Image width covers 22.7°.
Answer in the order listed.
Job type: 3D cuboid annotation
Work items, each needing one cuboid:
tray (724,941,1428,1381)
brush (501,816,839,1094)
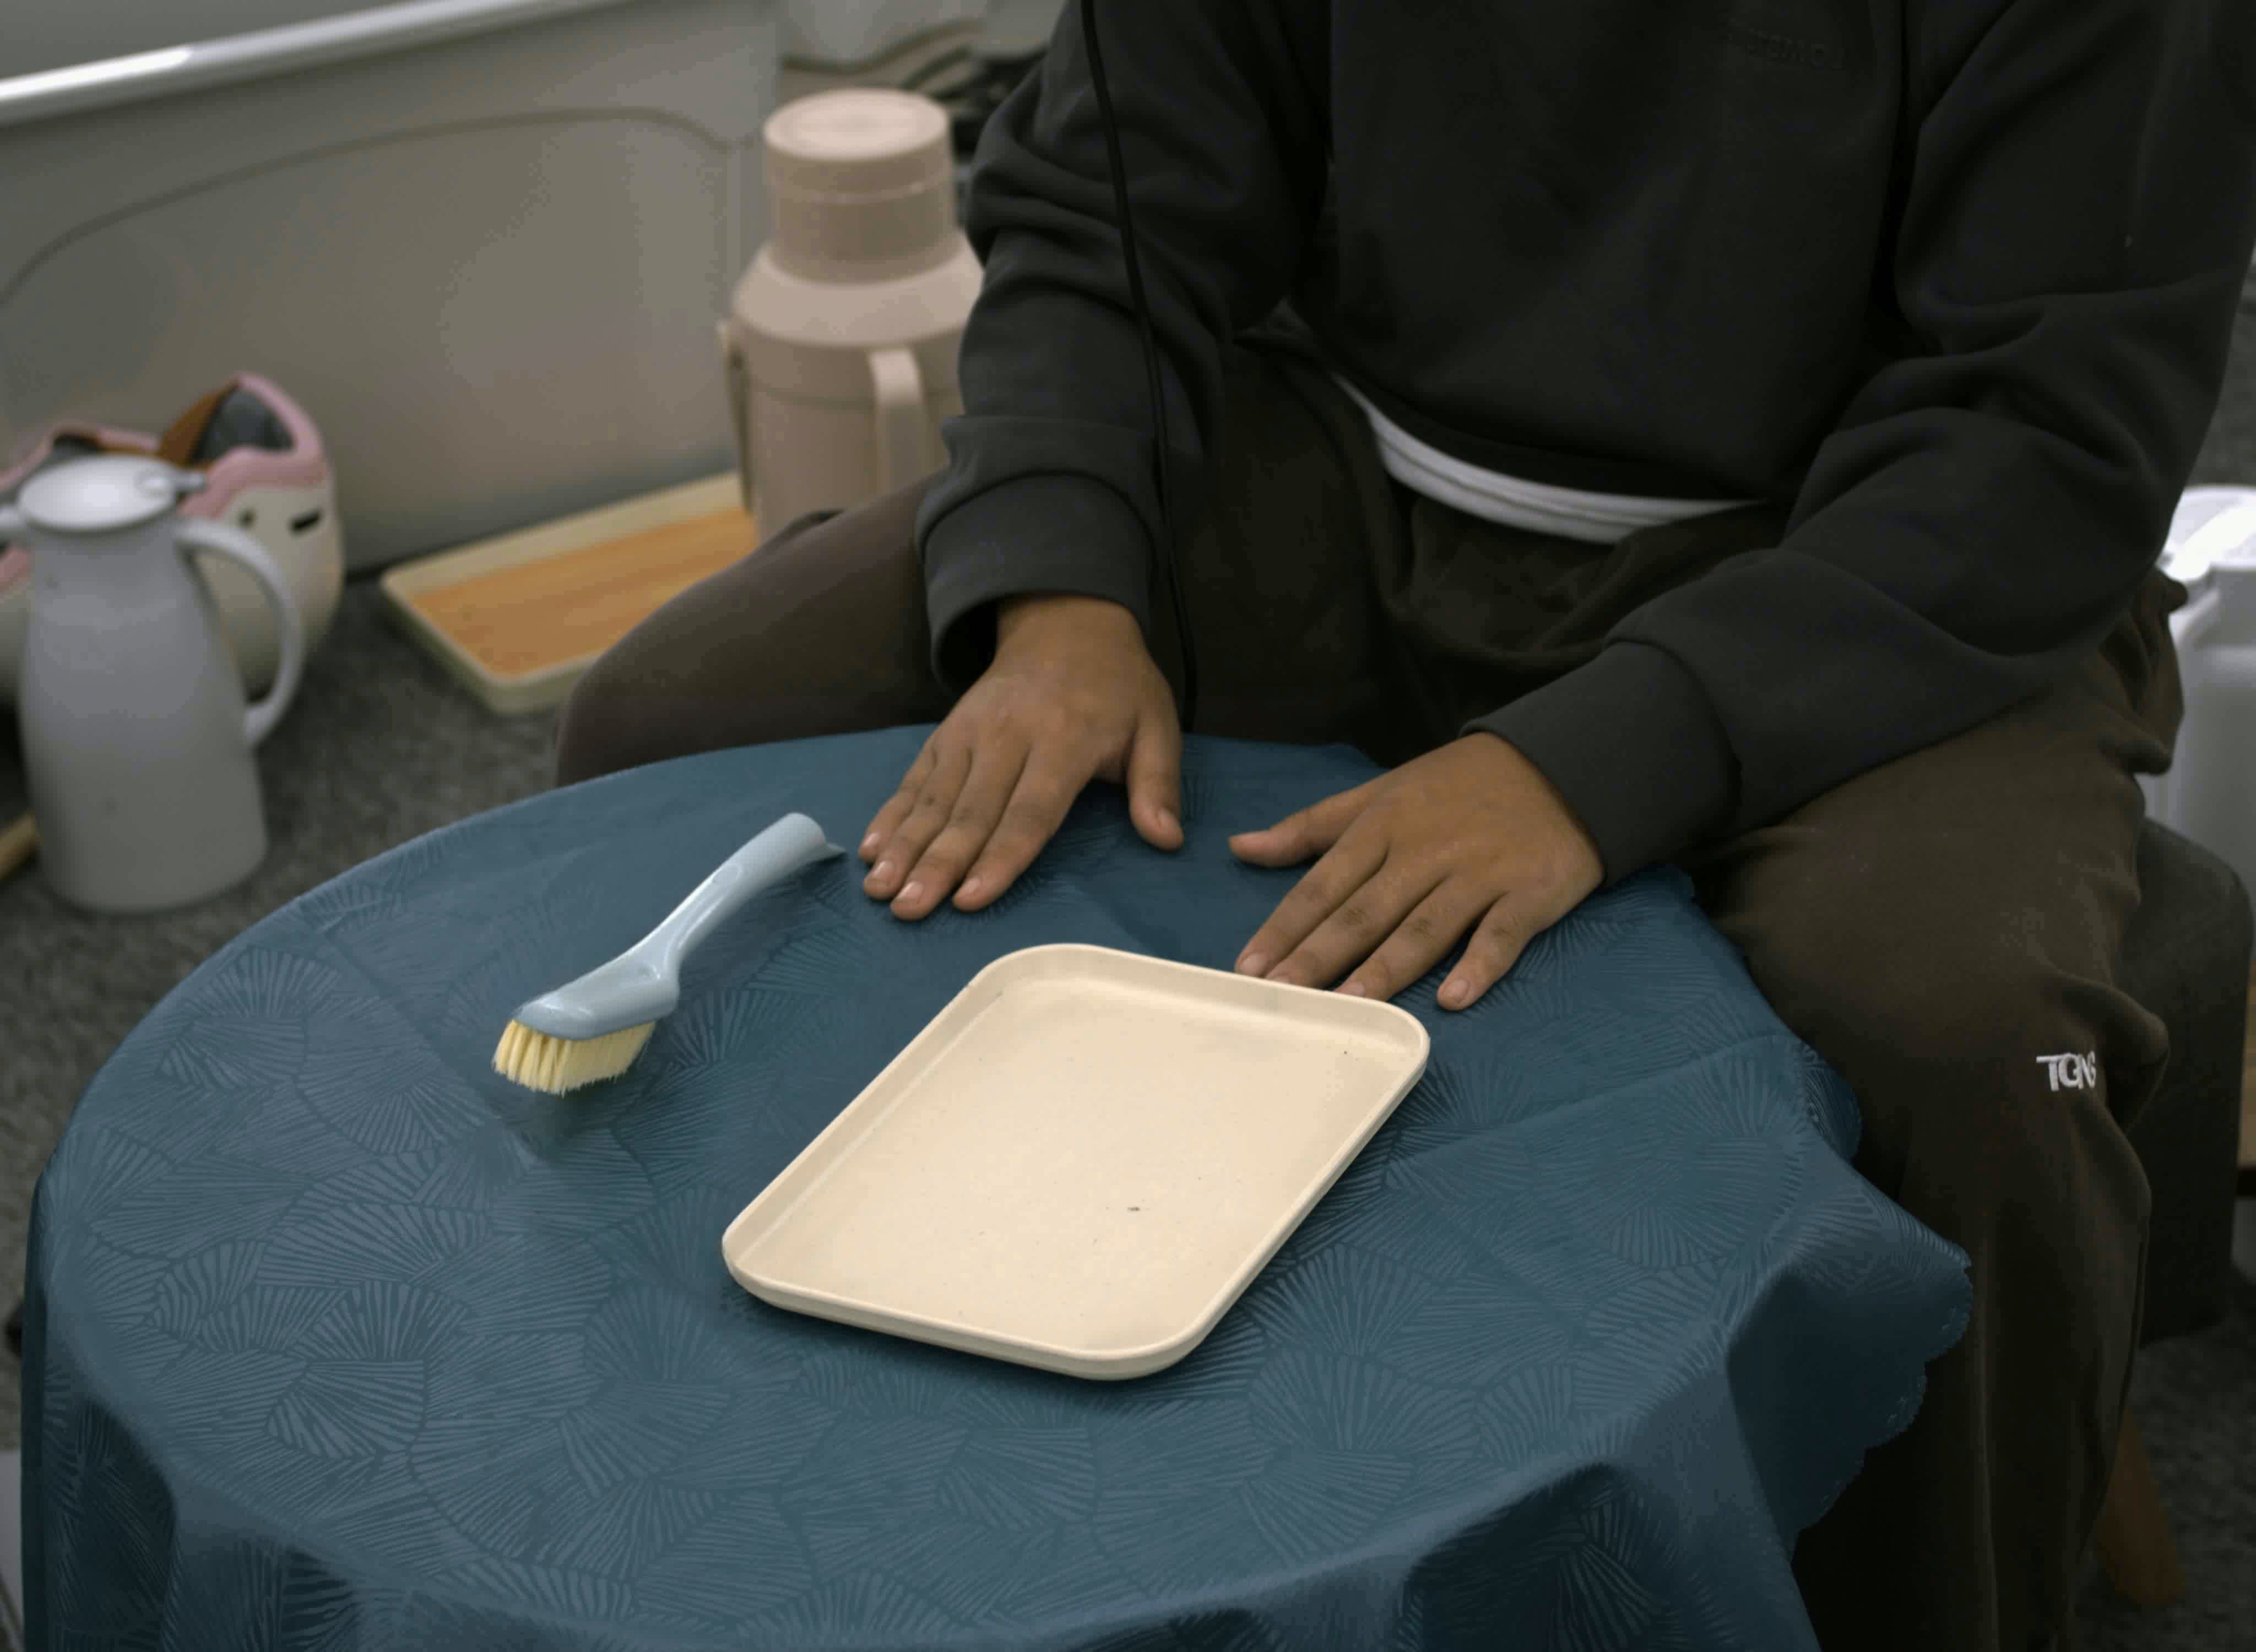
[{"bbox_3d":[-0.014,0.110,1.869,0.170,0.017,0.243,11,30,23],"label":"tray"},{"bbox_3d":[-0.160,0.045,1.993,0.037,0.049,0.232,20,25,15],"label":"brush"}]
